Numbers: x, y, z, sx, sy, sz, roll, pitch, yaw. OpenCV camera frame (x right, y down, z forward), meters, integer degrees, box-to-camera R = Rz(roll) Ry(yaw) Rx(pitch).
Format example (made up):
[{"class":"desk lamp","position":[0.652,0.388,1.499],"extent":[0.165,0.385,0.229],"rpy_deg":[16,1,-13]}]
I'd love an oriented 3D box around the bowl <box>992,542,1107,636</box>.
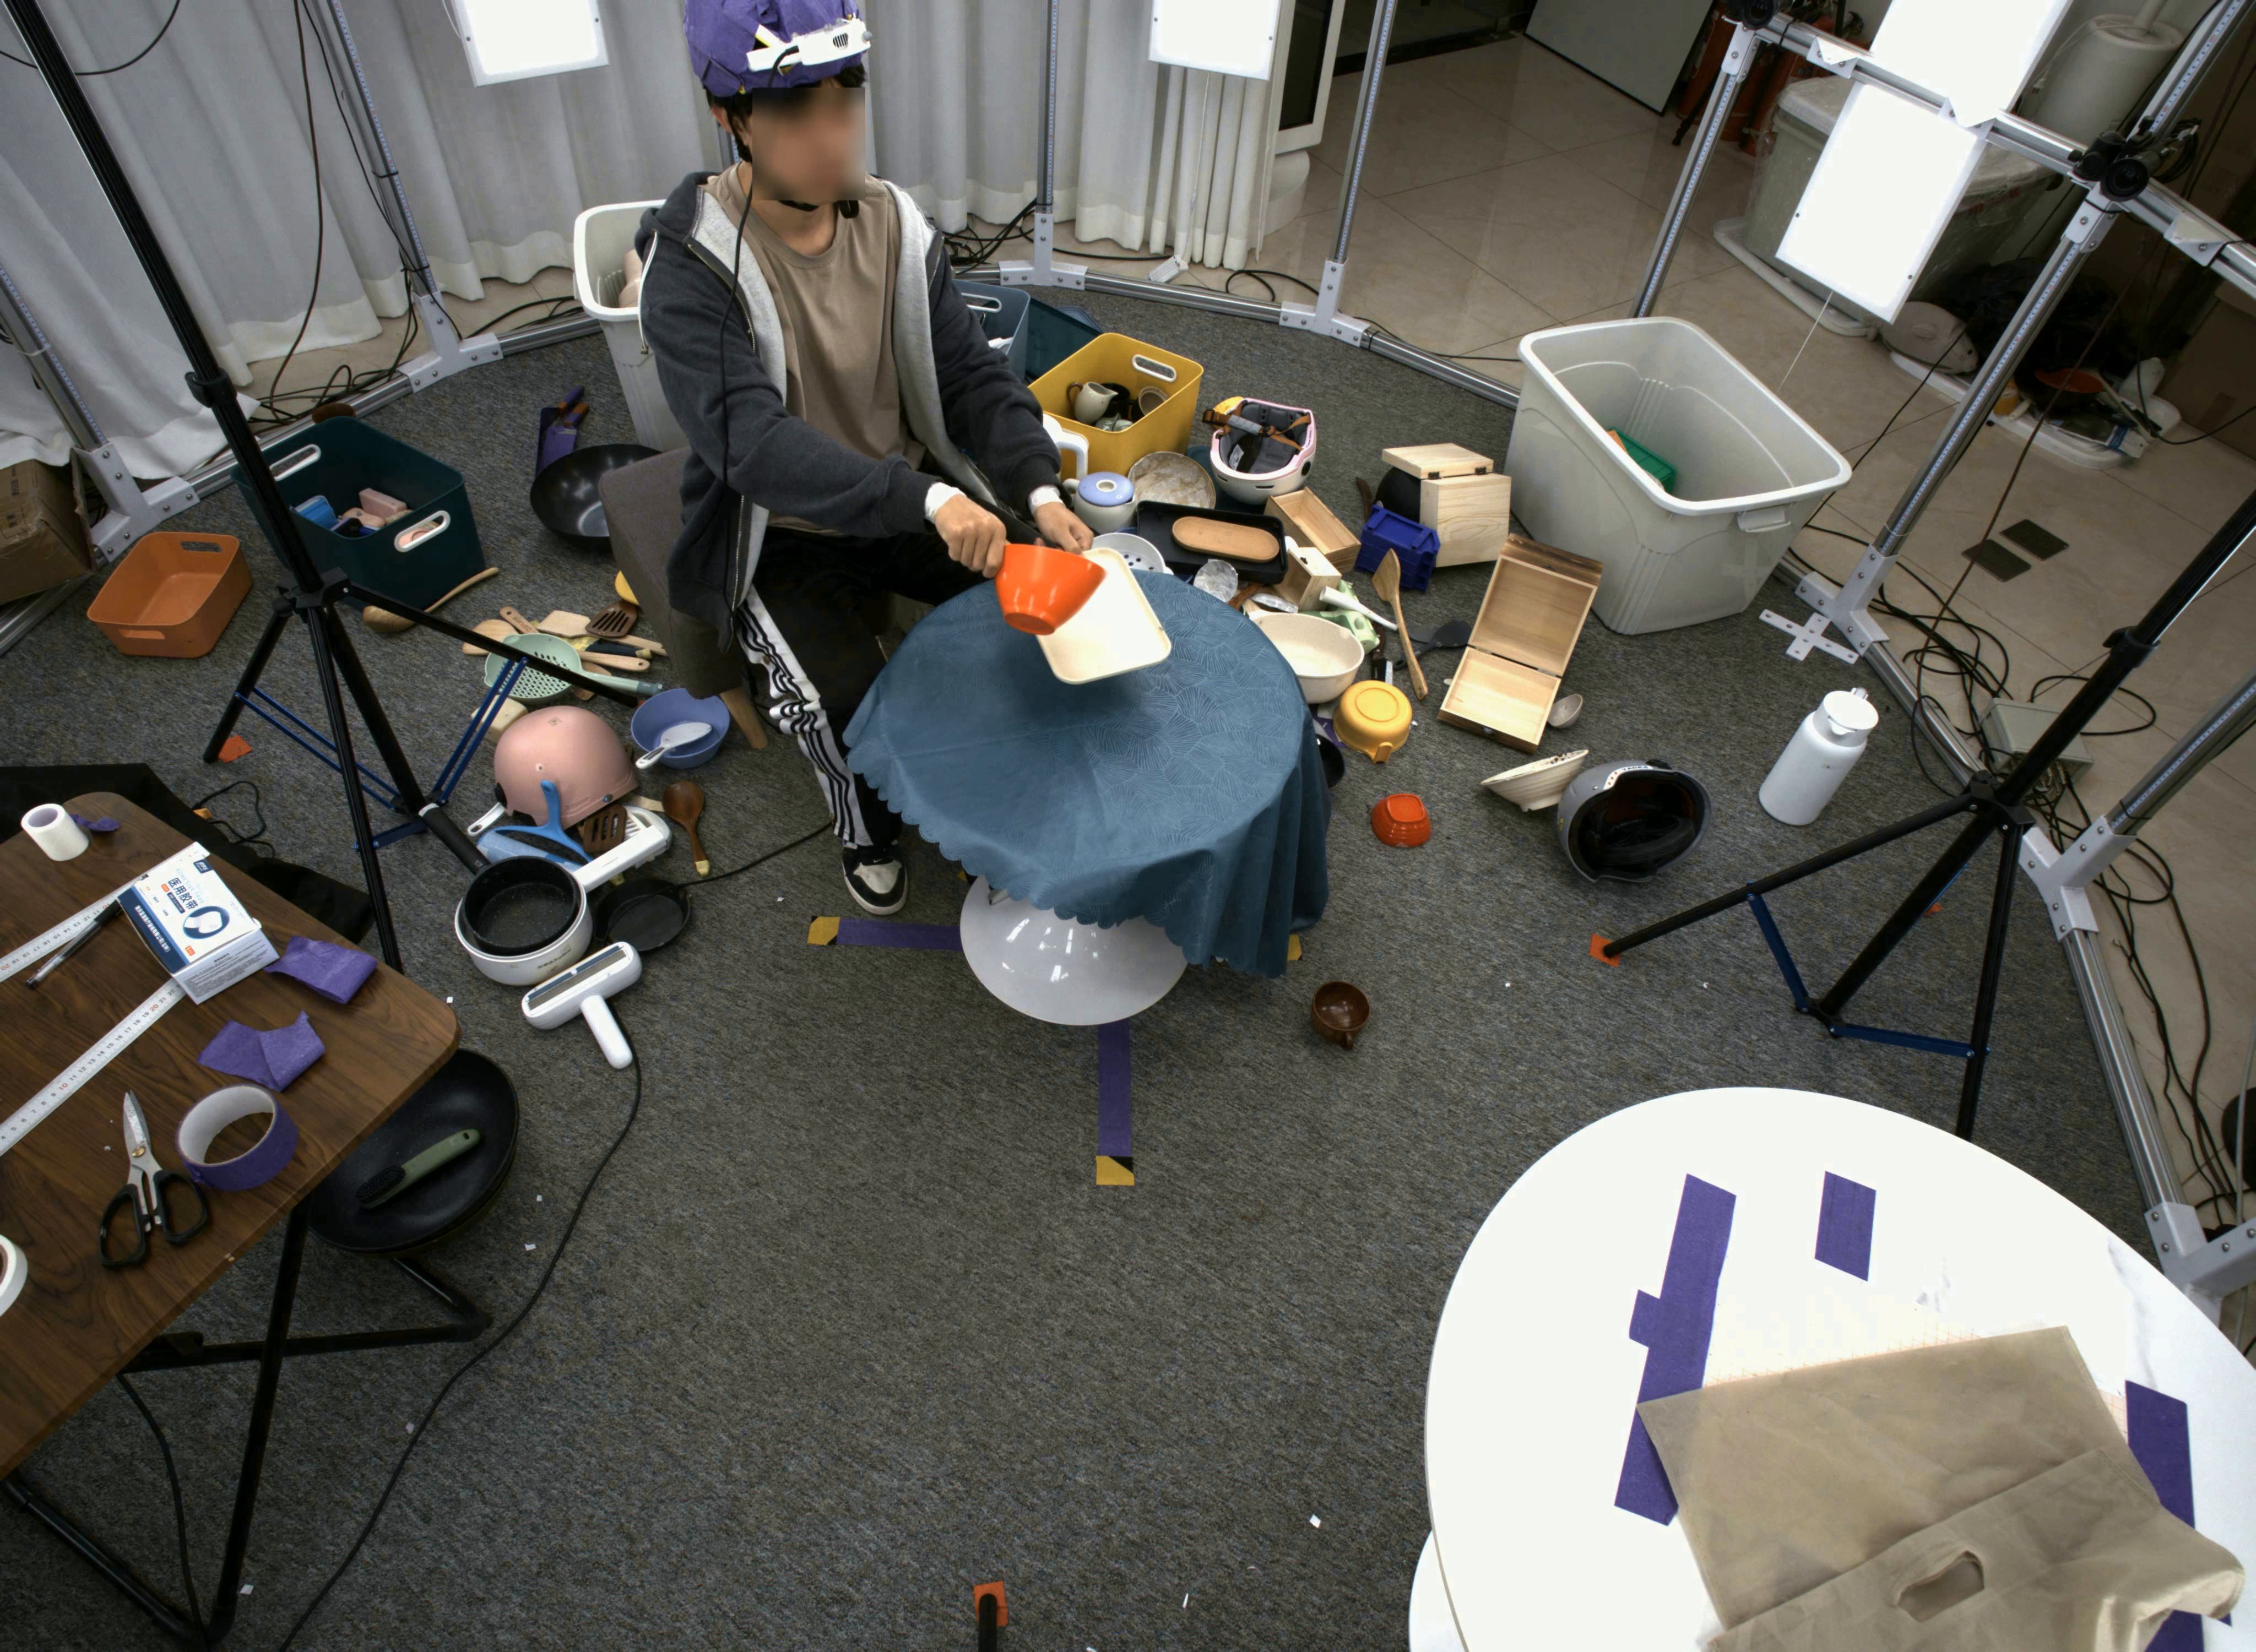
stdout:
[{"class":"bowl","position":[-0.110,-0.297,1.637],"extent":[0.148,0.146,0.106],"rpy_deg":[14,77,7]}]

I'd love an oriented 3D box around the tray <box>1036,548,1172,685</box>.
[{"class":"tray","position":[-0.053,-0.295,1.795],"extent":[0.171,0.017,0.245],"rpy_deg":[-16,54,-13]}]
